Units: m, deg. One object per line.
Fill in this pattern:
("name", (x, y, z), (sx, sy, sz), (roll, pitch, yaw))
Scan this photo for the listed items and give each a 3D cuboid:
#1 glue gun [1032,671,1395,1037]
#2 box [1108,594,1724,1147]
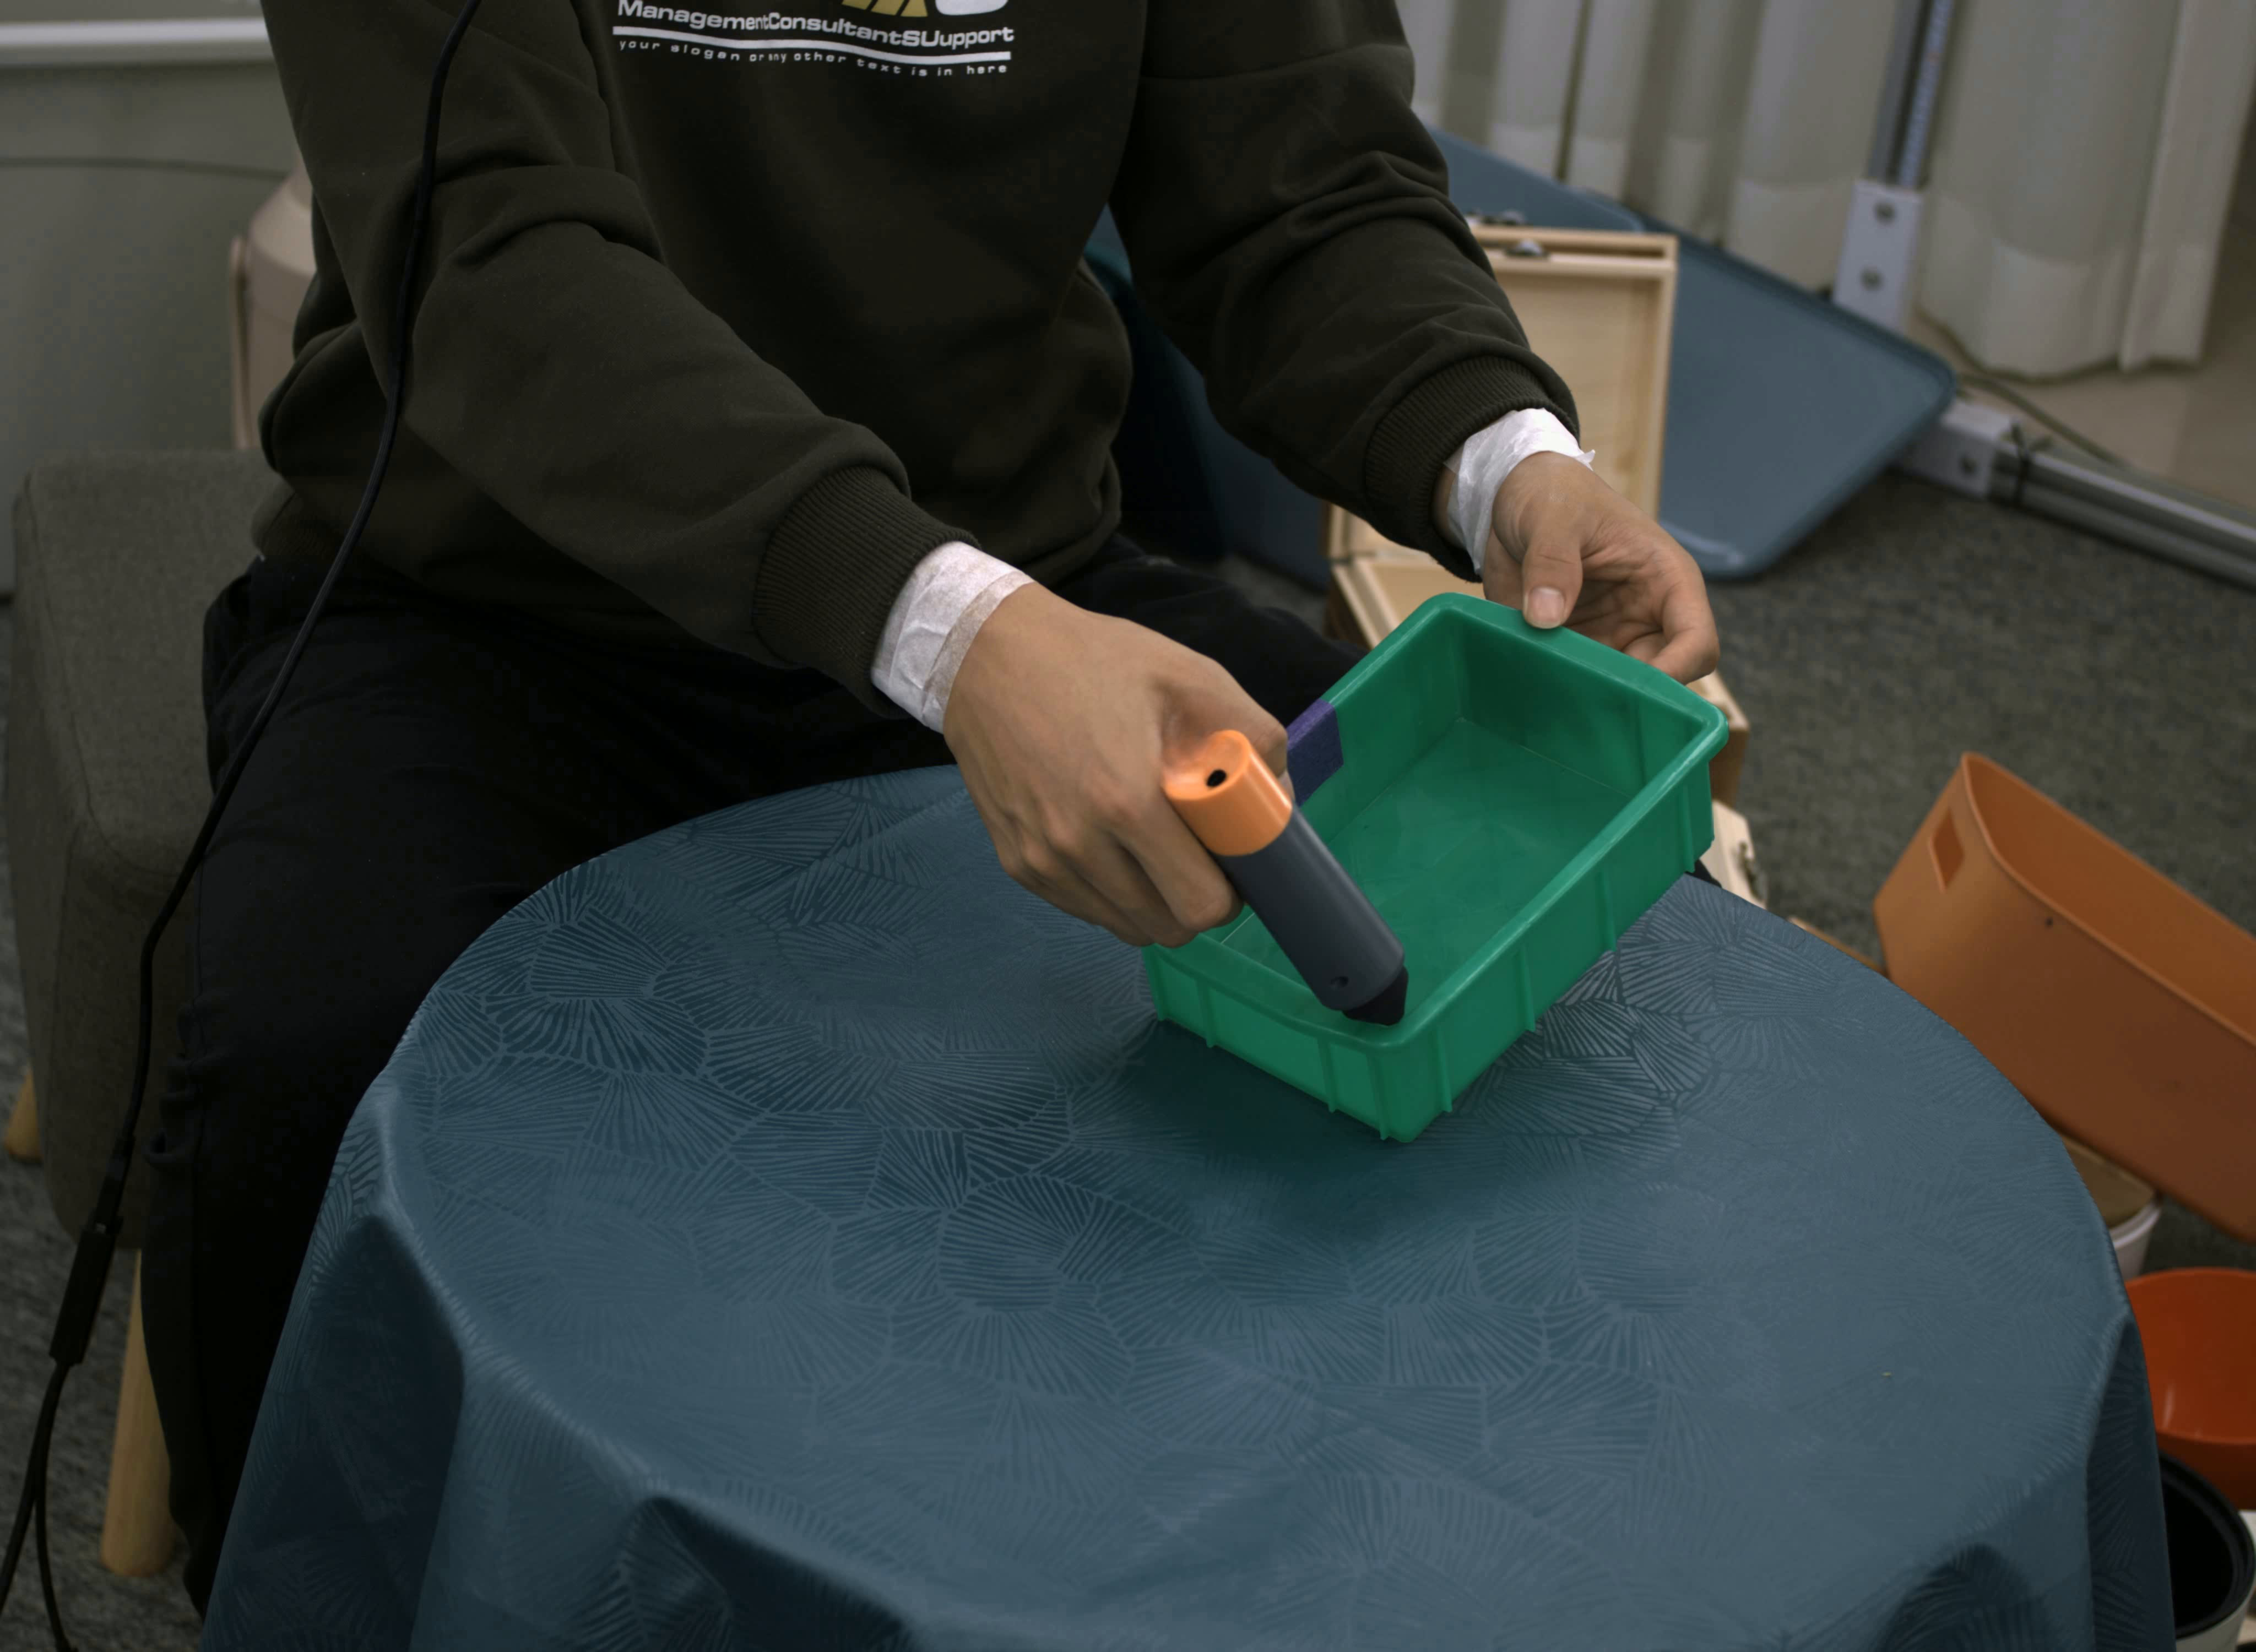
("glue gun", (0.032, 0.008, 1.826), (0.041, 0.117, 0.141), (-39, 40, -18))
("box", (0.107, 0.017, 1.911), (0.139, 0.065, 0.210), (25, 55, 34))
